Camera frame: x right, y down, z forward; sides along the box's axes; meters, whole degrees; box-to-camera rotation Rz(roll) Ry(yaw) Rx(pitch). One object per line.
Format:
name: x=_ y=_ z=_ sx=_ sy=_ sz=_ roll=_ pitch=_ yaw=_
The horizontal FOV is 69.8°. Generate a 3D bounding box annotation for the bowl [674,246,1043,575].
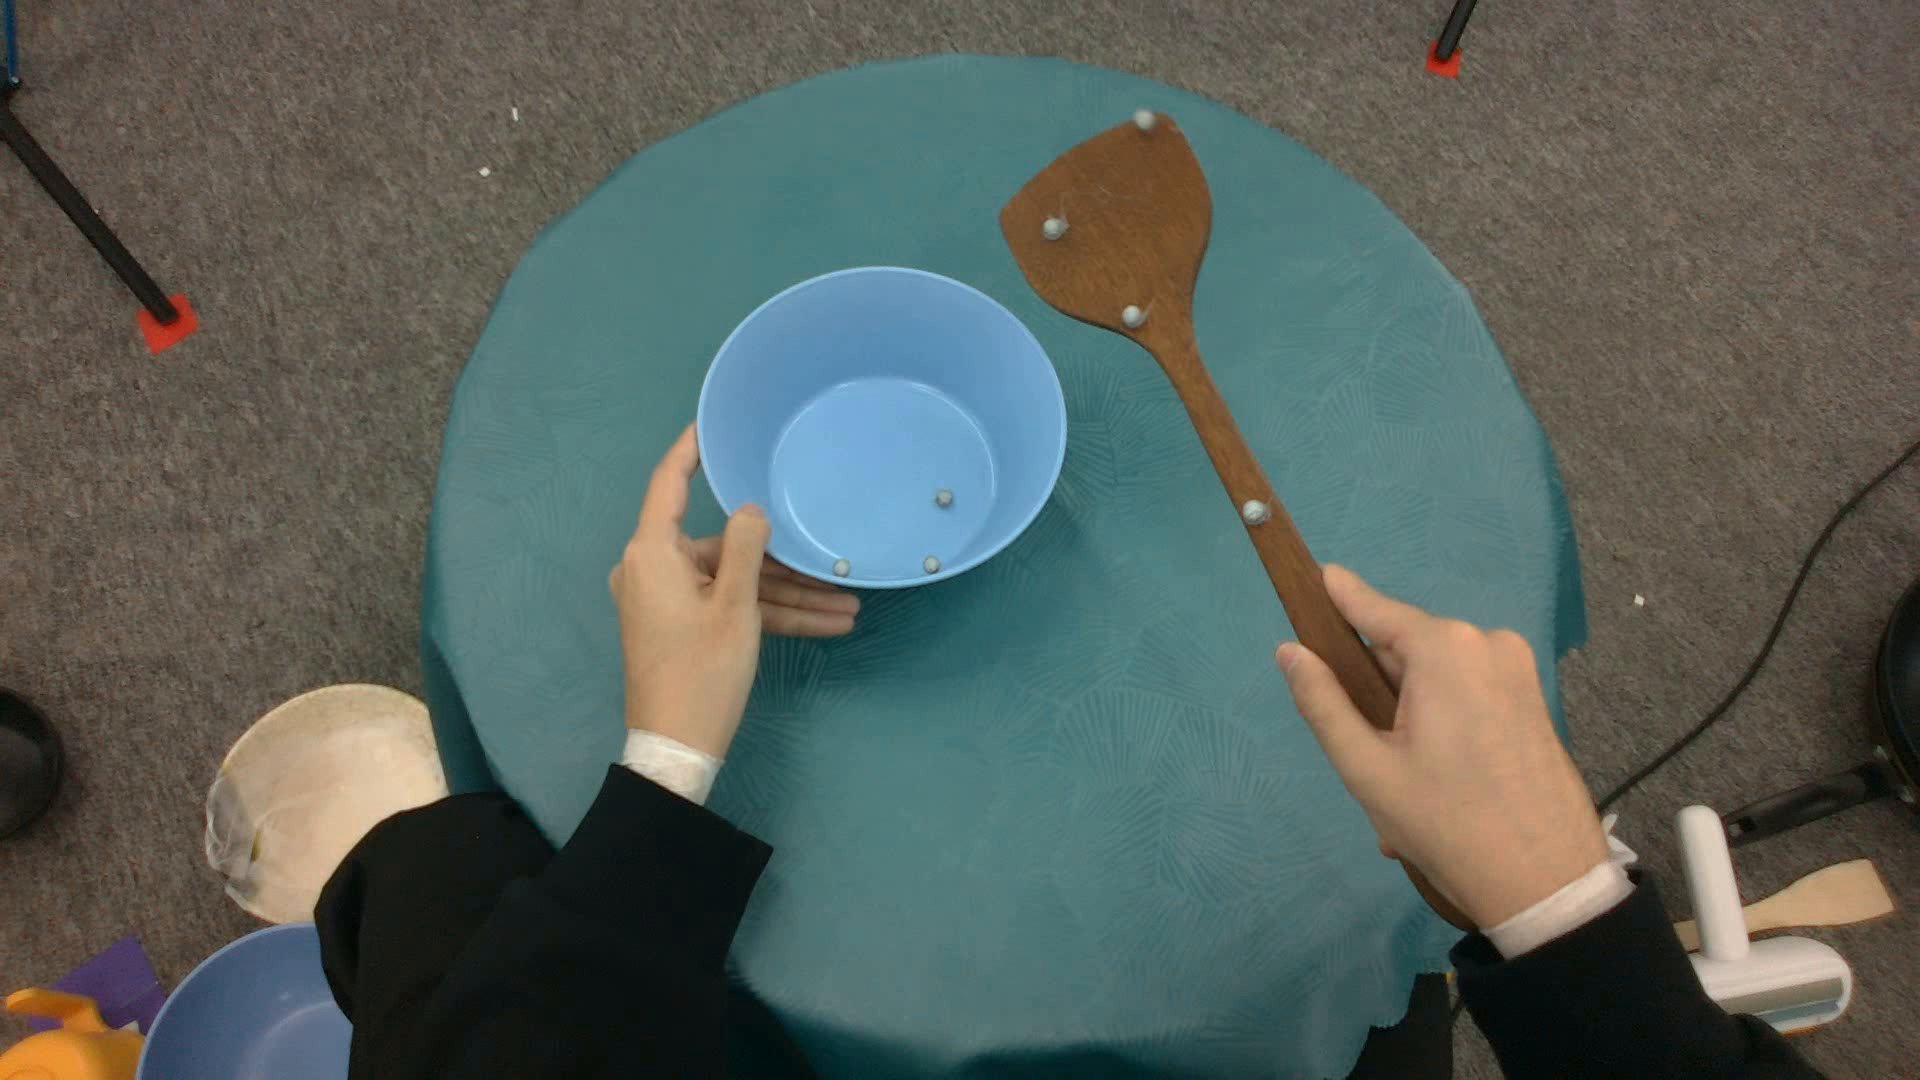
bowl: x=-0.049 y=-0.054 z=0.684 sx=0.176 sy=0.070 sz=0.176 roll=2 pitch=67 yaw=-3

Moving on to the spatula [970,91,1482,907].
spatula: x=0.104 y=-0.033 z=0.559 sx=0.096 sy=0.016 sz=0.387 roll=-34 pitch=60 yaw=20
